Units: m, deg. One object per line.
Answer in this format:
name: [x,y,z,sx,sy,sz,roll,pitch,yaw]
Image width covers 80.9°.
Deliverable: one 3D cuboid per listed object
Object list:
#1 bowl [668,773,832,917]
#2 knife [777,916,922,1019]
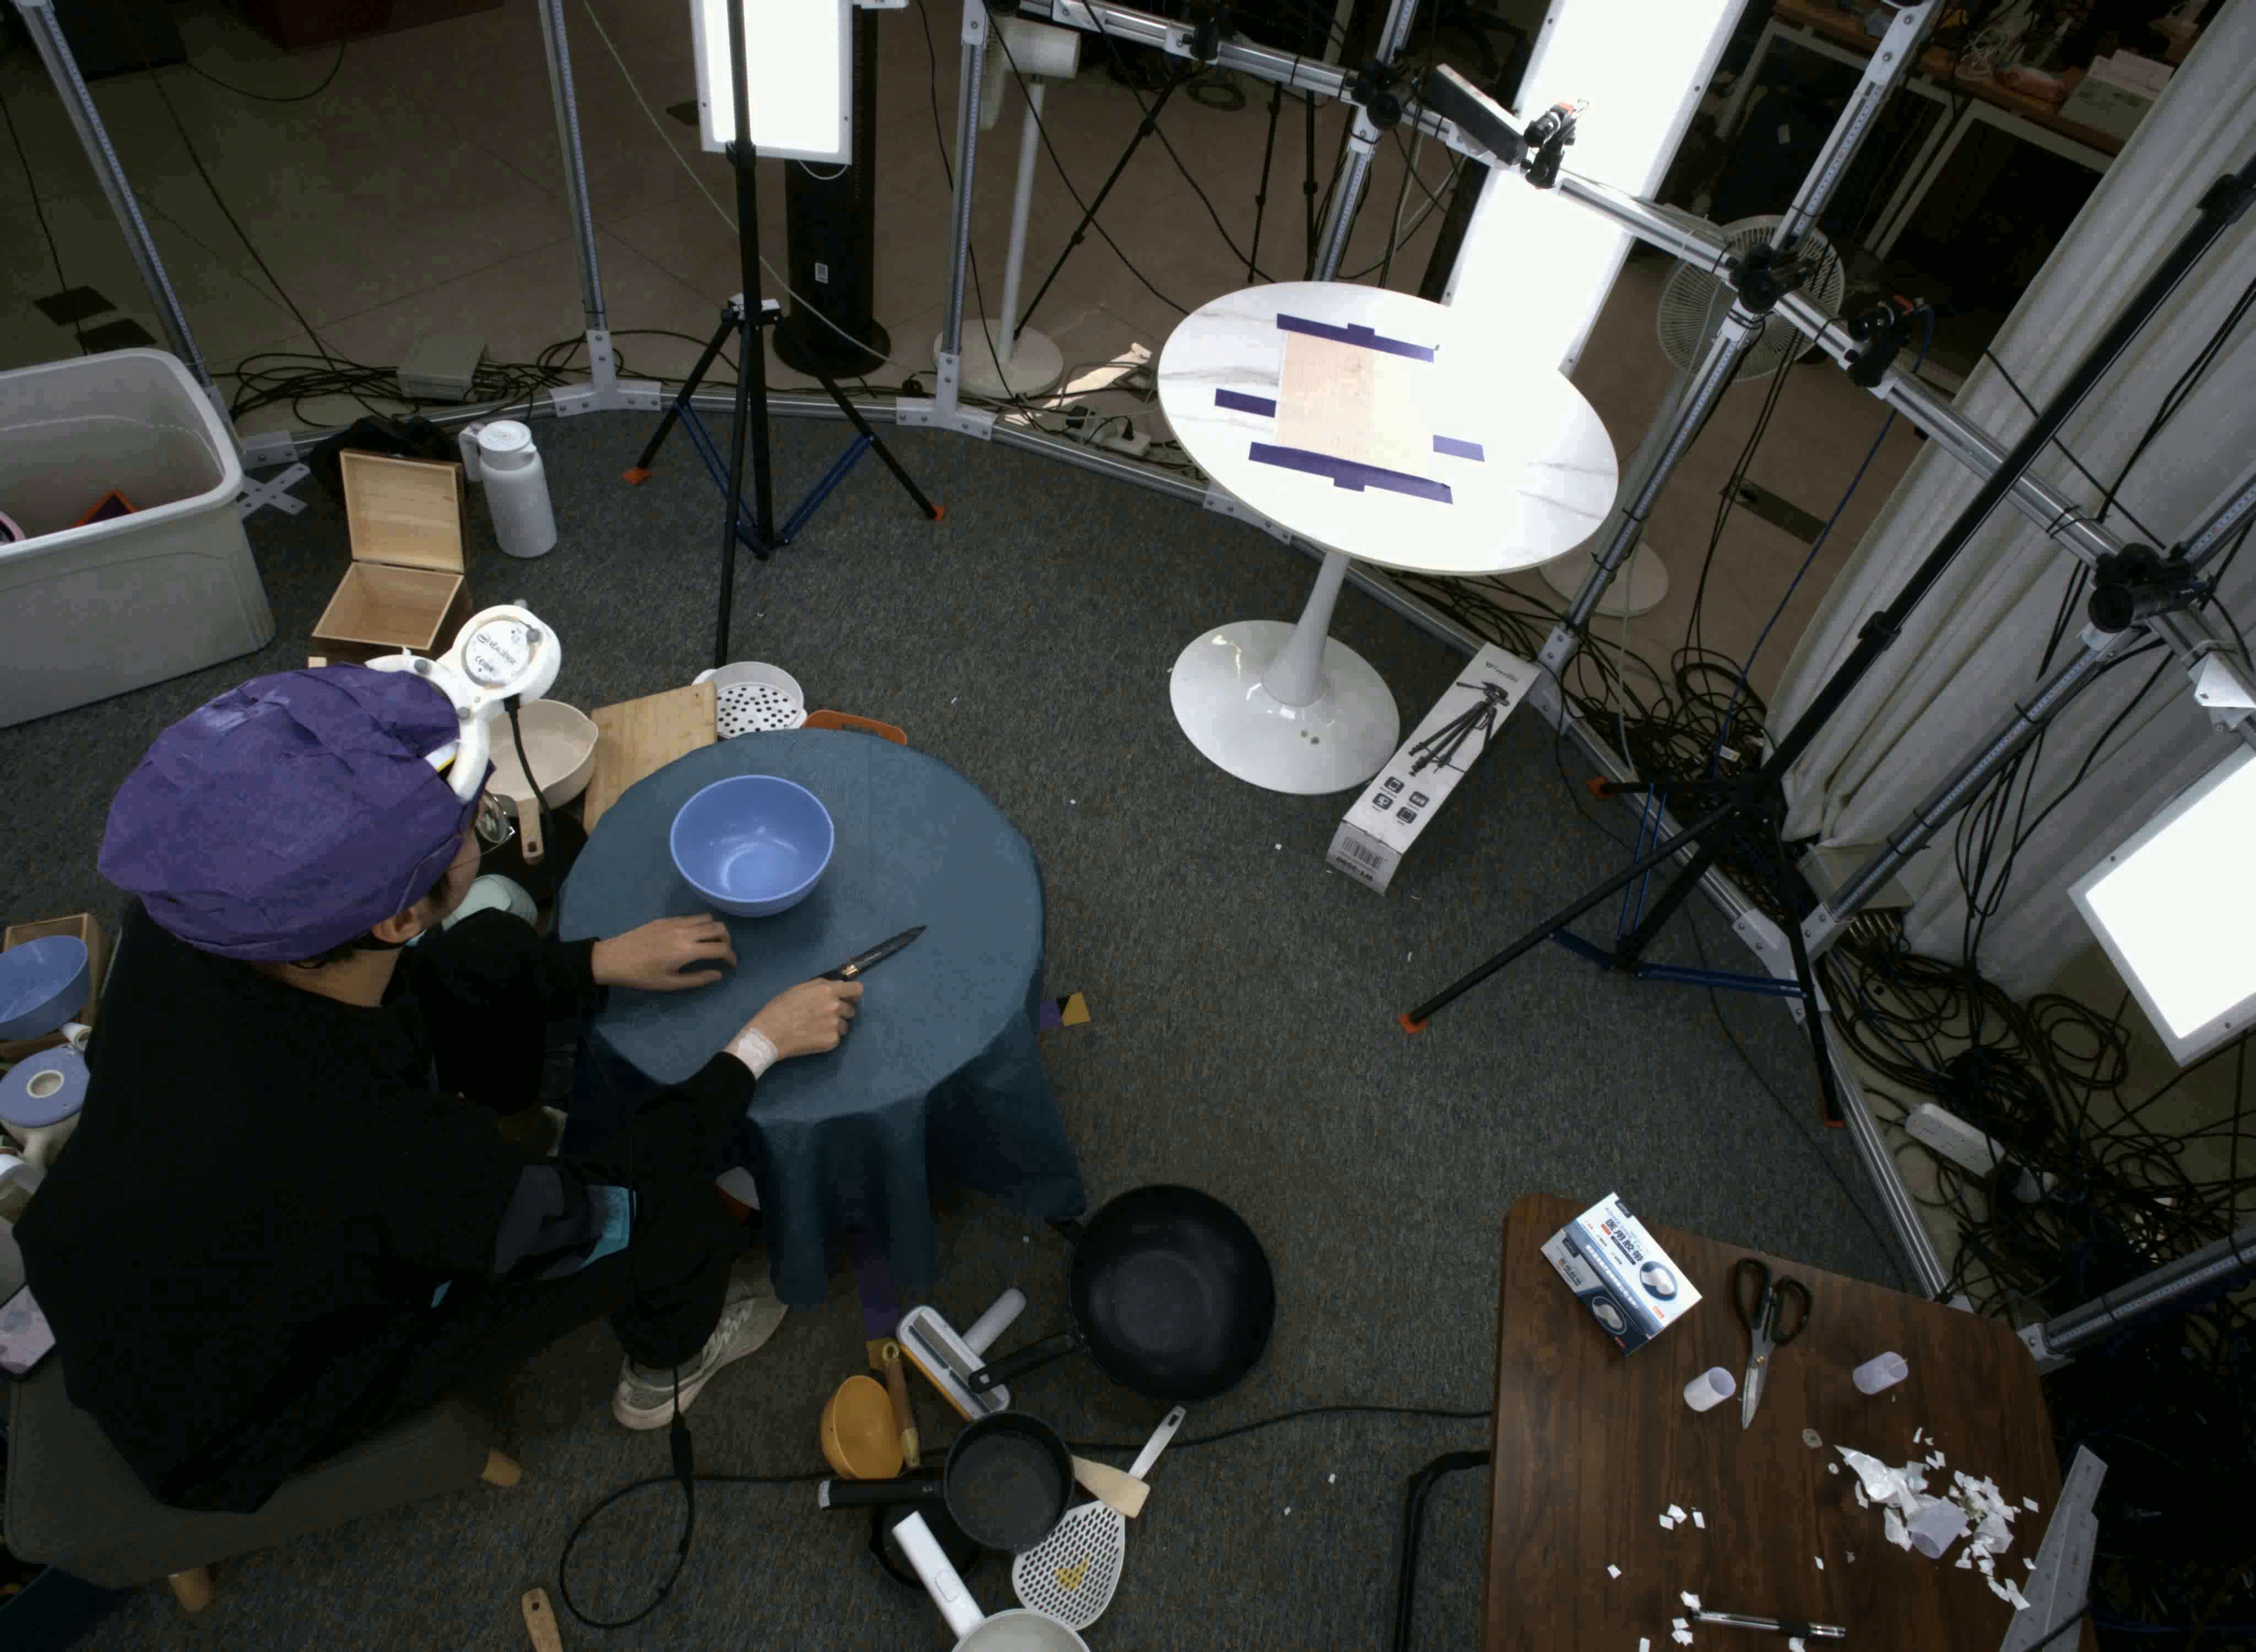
bowl: [-0.468,0.038,1.609,0.196,0.097,0.193,9,49,-9]
knife: [-0.339,0.170,1.602,0.025,0.018,0.226,40,52,24]
